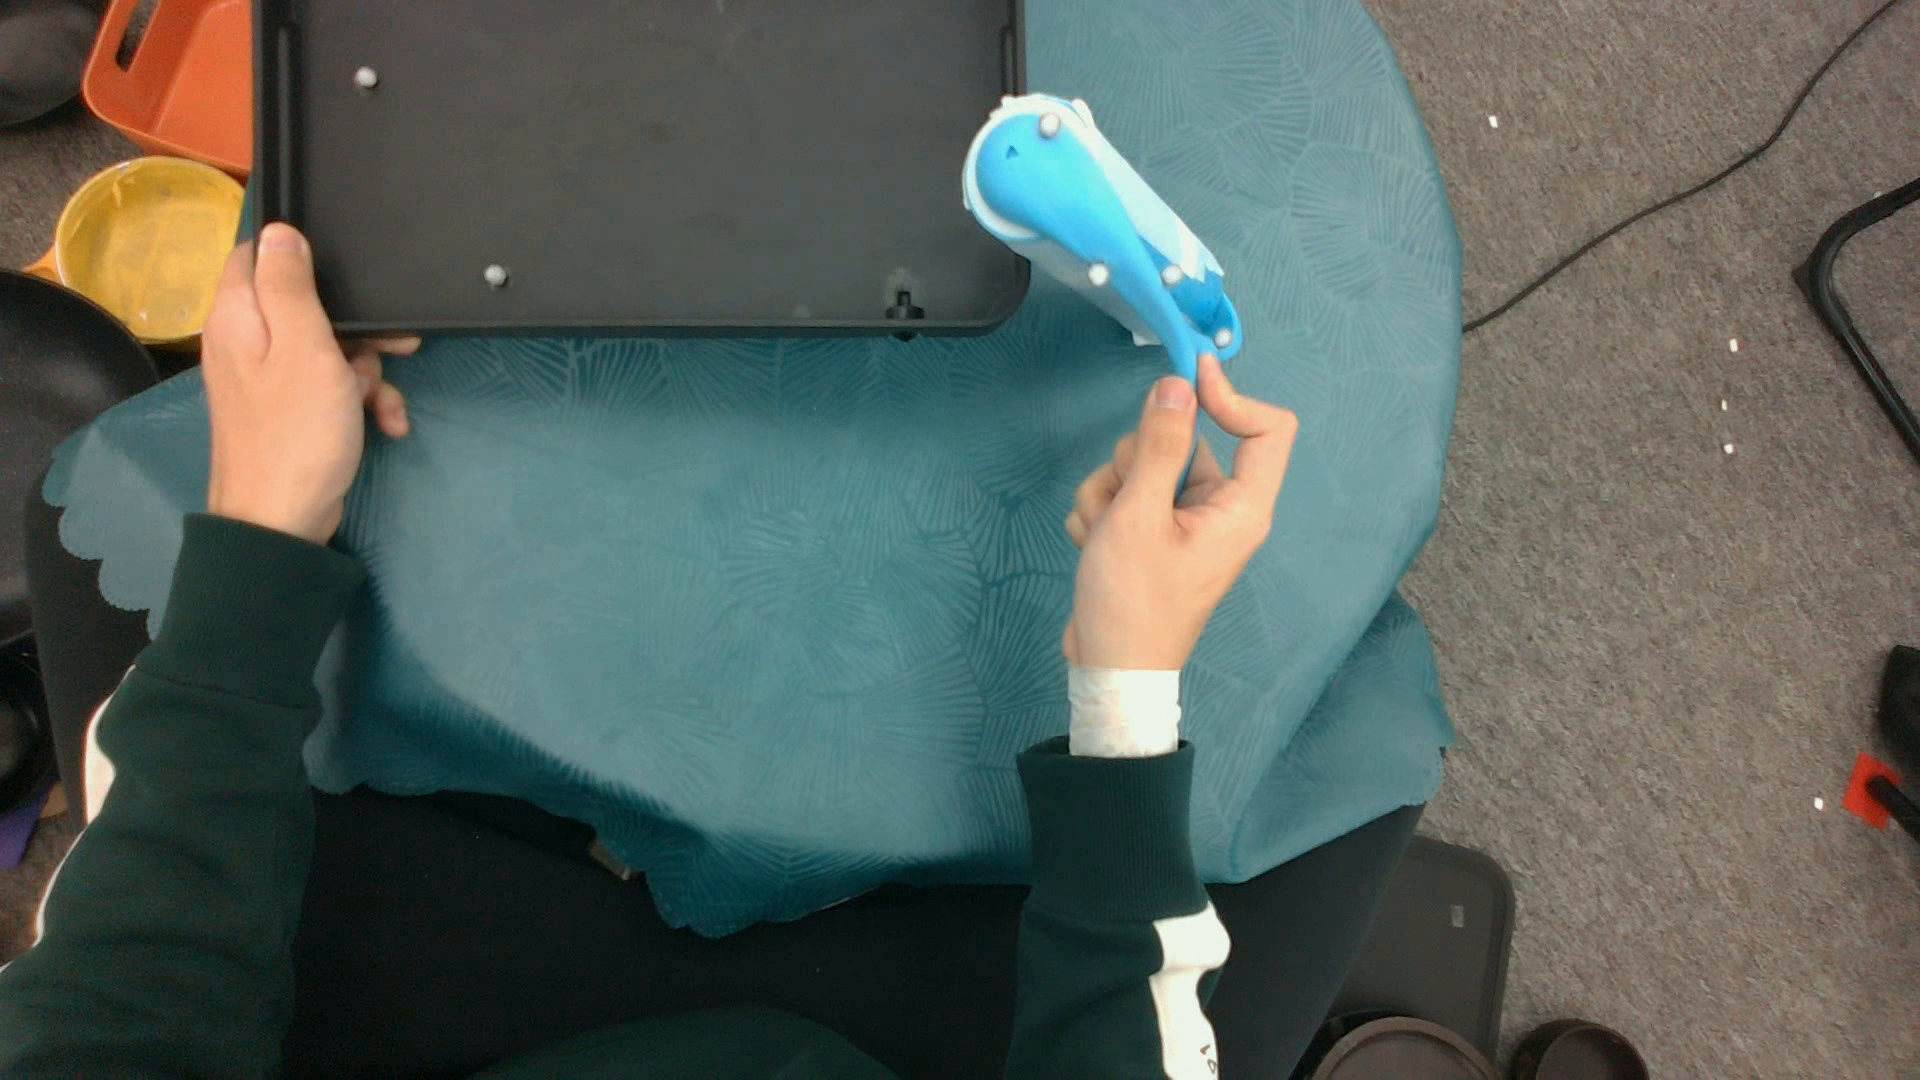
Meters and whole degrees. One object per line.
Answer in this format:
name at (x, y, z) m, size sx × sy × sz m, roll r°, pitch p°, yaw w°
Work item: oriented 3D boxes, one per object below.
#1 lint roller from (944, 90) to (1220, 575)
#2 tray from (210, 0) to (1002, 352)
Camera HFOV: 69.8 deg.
lint roller at (0.067, -0.079, 0.593) m, size 0.068 × 0.229 × 0.180 m, roll -11°, pitch 85°, yaw 21°
tray at (-0.145, -0.178, 0.590) m, size 0.318 × 0.037 × 0.184 m, roll -3°, pitch 89°, yaw -6°
